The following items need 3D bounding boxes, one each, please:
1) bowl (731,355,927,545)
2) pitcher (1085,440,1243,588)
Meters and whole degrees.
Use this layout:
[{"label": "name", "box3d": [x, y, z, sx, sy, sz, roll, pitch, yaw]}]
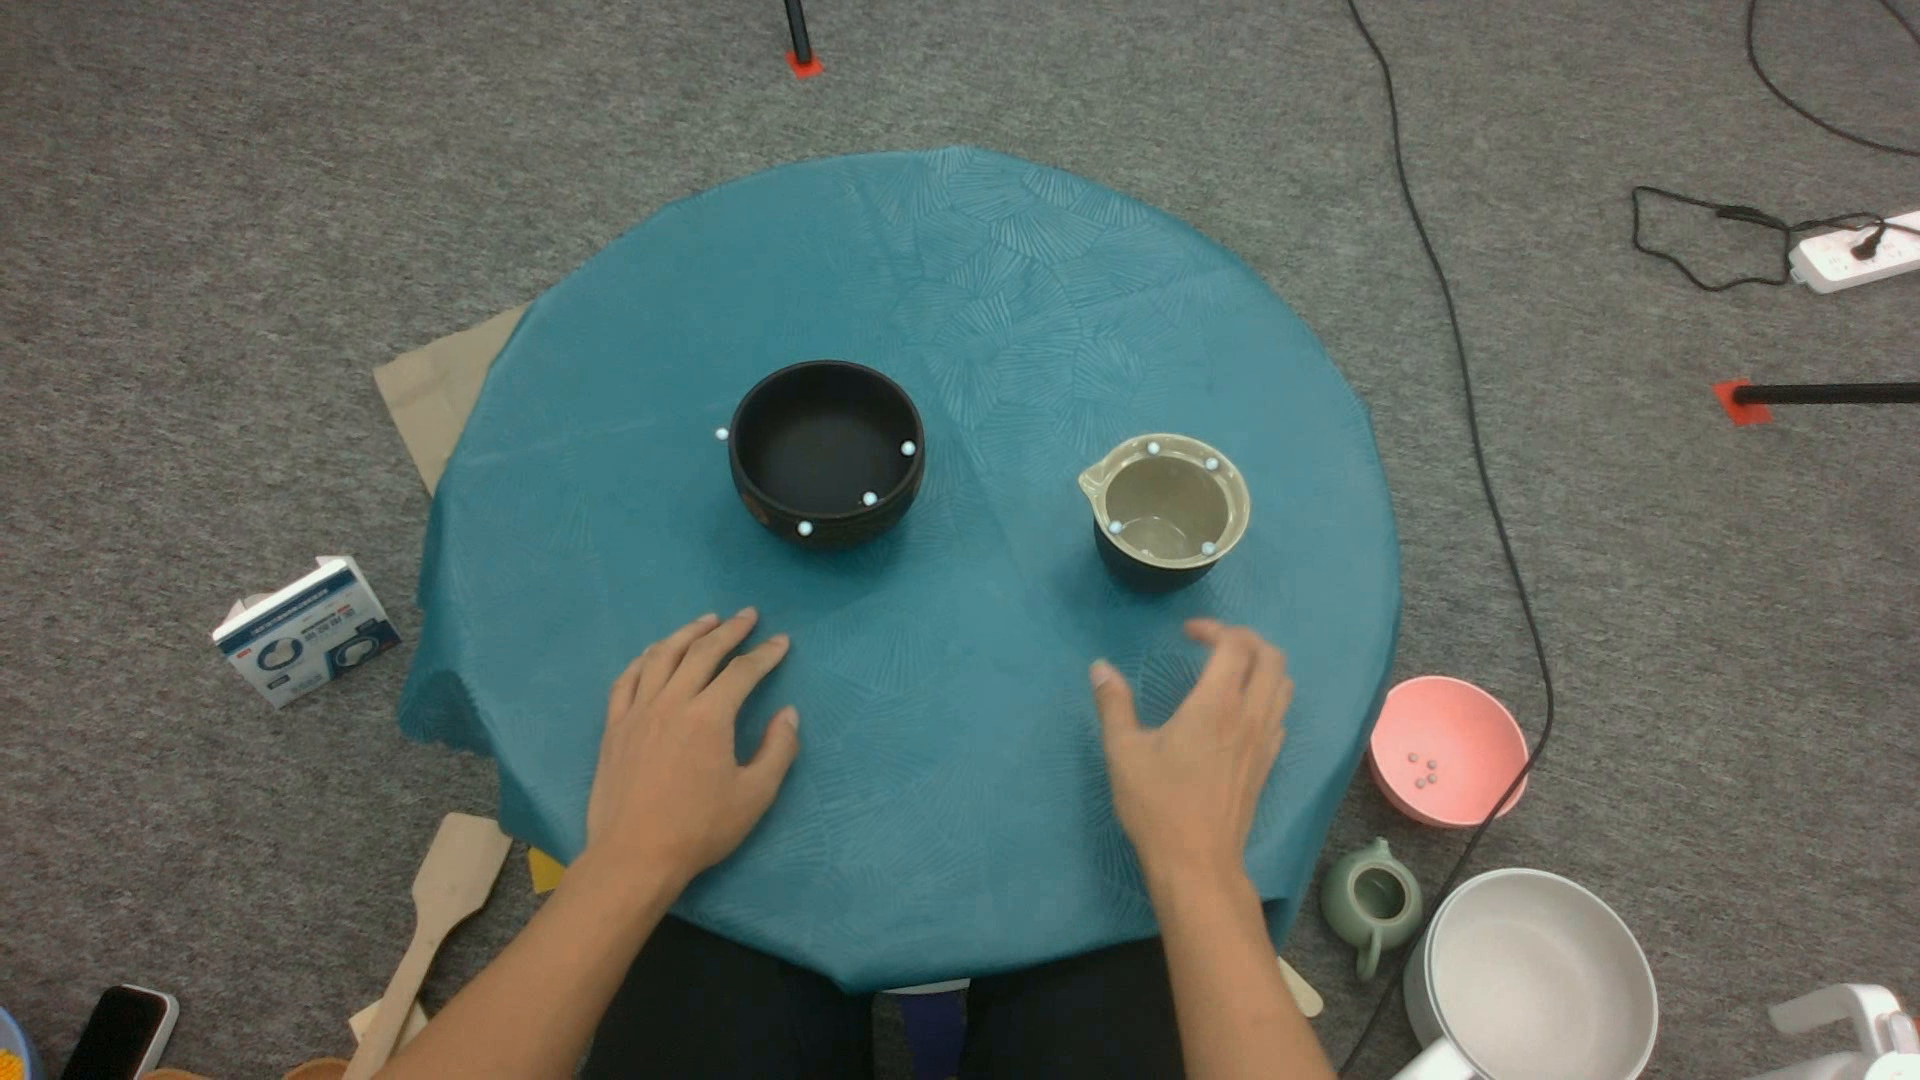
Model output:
[{"label": "bowl", "box3d": [-0.080, -0.048, 0.848, 0.118, 0.069, 0.118, 2, 59, -3]}, {"label": "pitcher", "box3d": [0.118, -0.012, 0.836, 0.096, 0.071, 0.084, 20, 63, 8]}]
